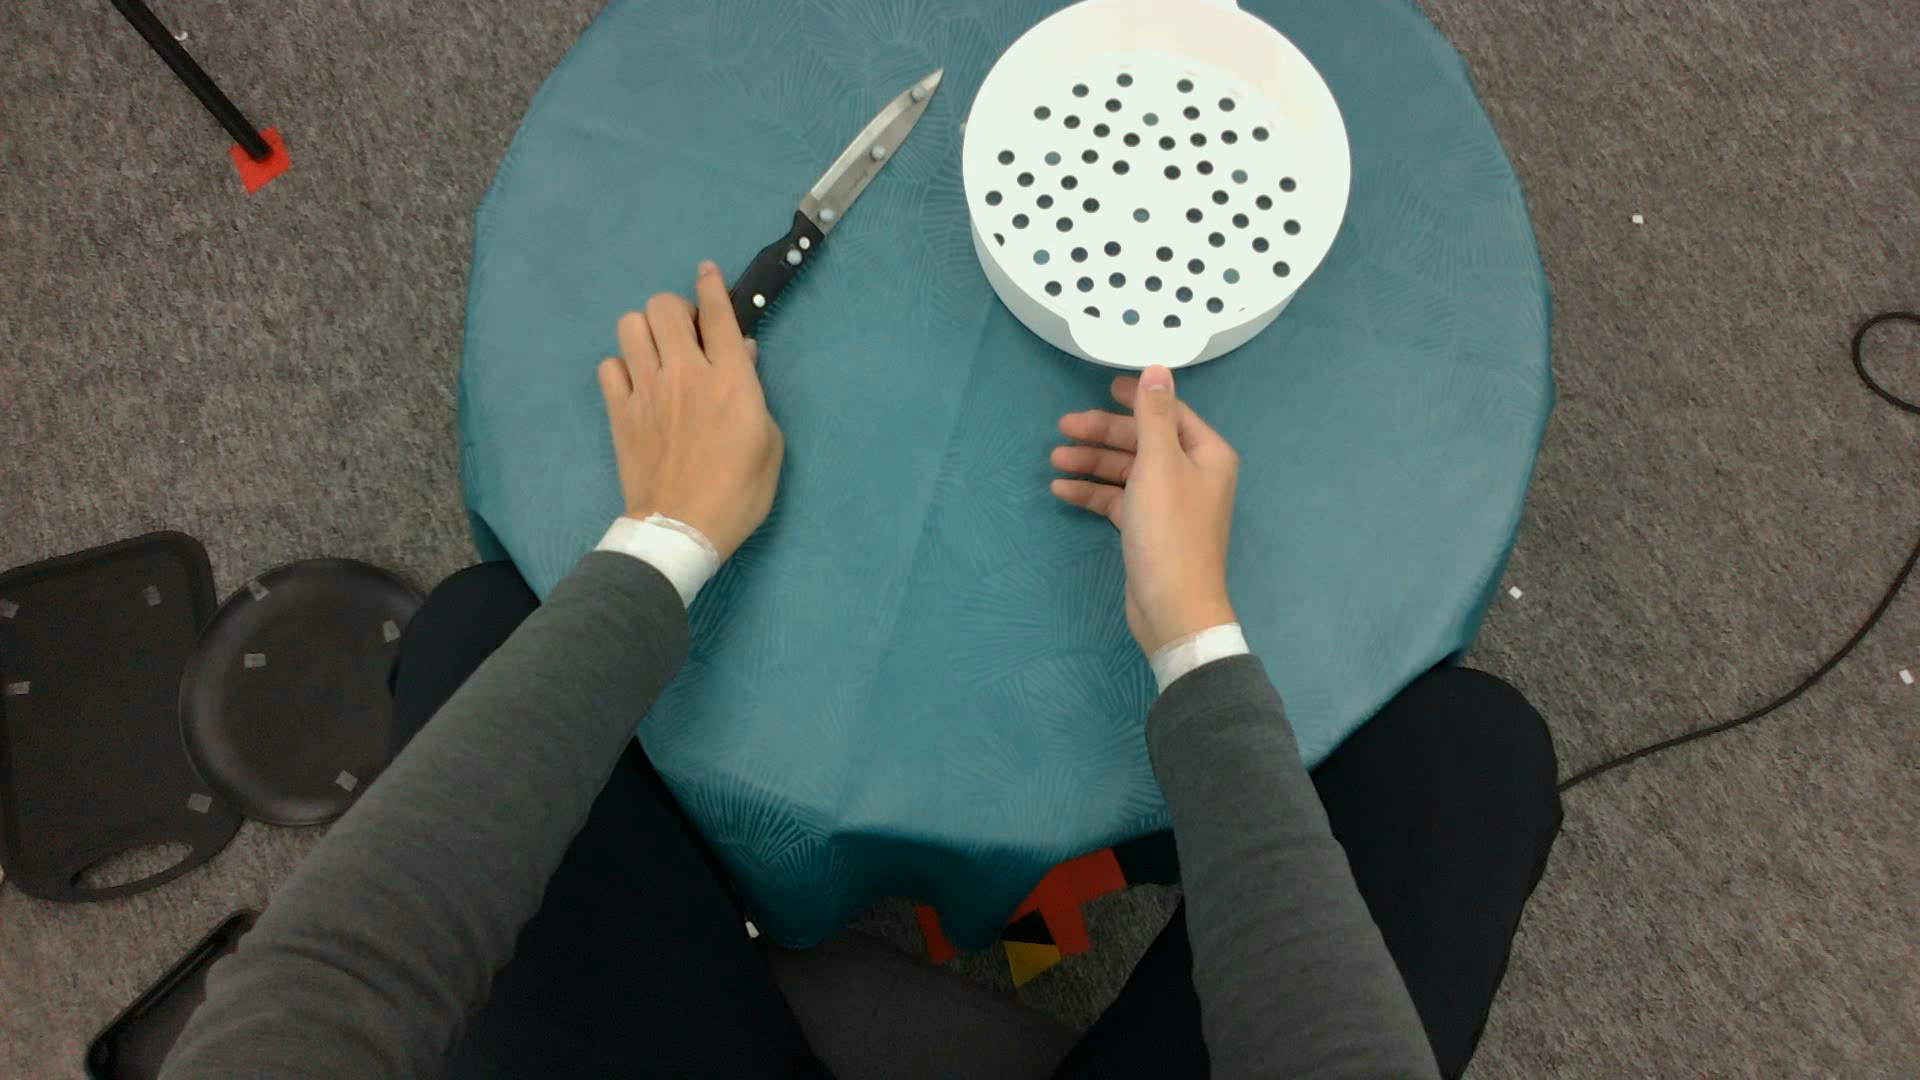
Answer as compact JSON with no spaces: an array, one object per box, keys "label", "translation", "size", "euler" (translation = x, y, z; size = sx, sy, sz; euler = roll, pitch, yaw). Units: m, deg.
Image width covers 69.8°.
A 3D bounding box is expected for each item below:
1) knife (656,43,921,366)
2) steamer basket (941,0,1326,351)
[{"label":"knife","translation":[-0.089,-0.188,0.766],"size":[0.016,0.024,0.238],"euler":[26,74,39]},{"label":"steamer basket","translation":[0.091,-0.202,0.748],"size":[0.202,0.069,0.231],"euler":[6,77,2]}]
